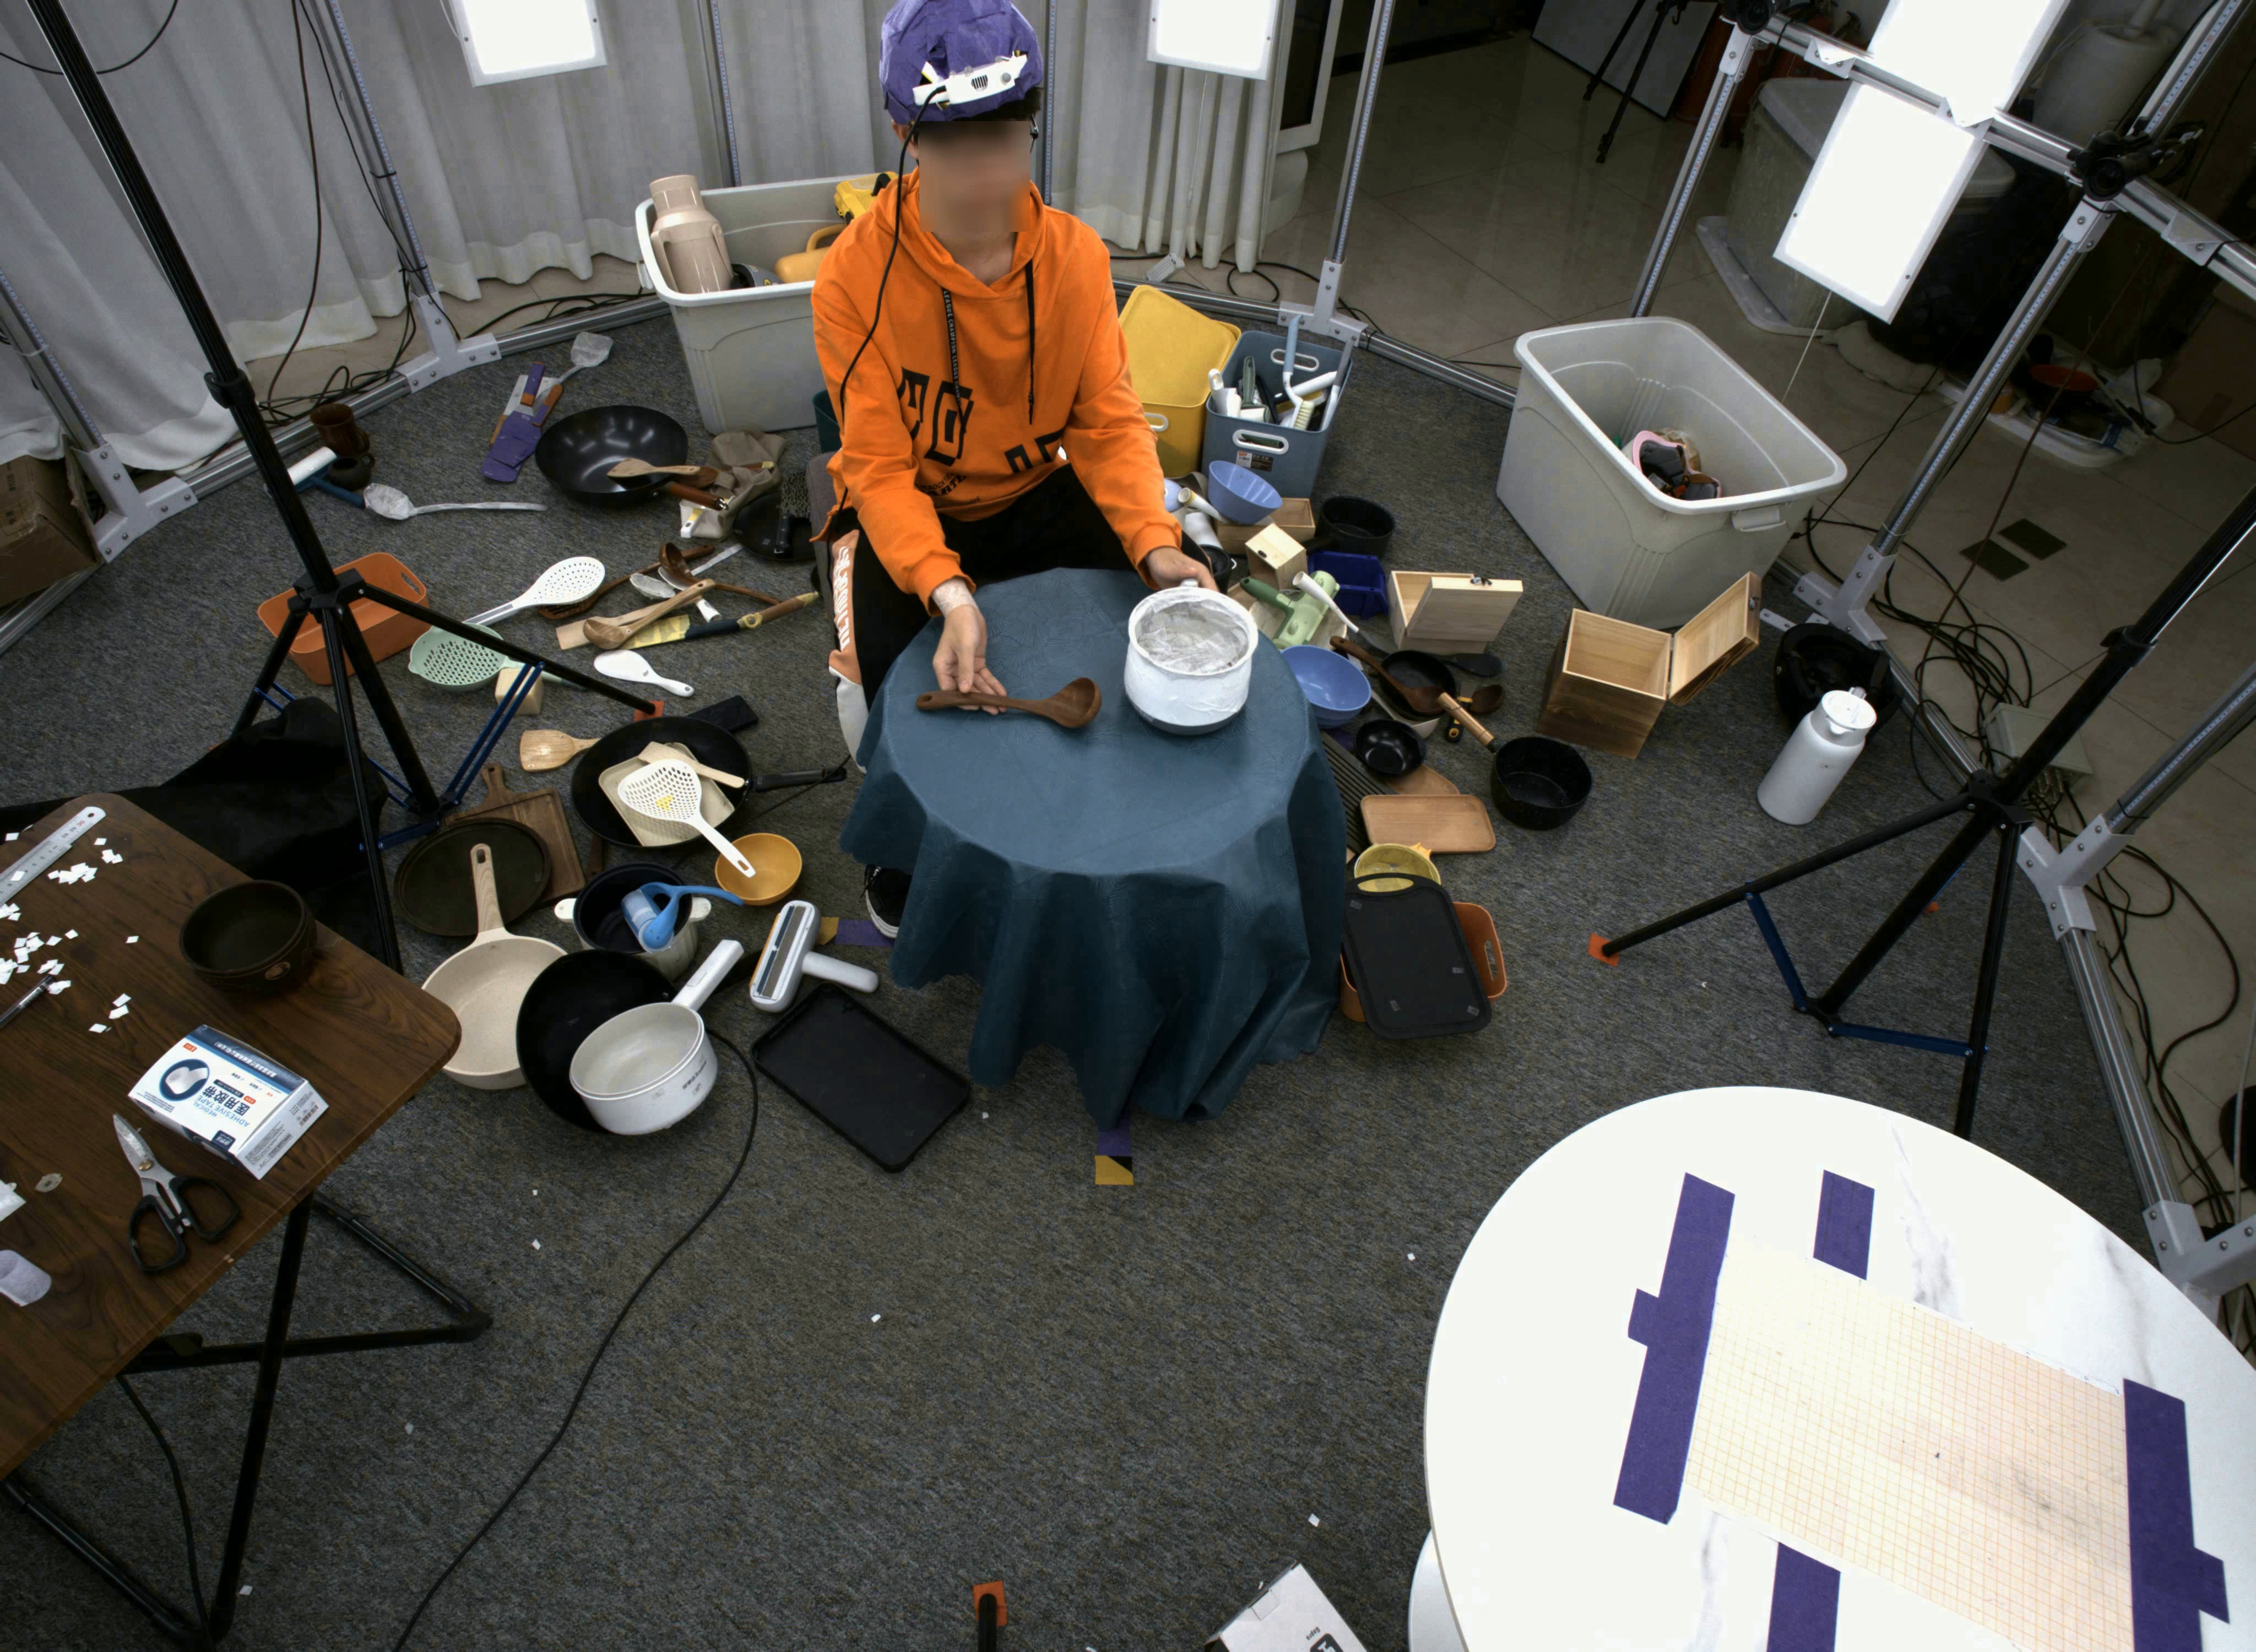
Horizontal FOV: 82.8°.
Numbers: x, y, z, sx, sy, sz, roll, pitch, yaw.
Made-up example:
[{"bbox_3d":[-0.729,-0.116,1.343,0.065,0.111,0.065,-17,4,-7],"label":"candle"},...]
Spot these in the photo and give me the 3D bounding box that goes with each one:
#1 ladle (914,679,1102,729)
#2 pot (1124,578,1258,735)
[{"bbox_3d":[-0.166,-0.176,1.769,0.260,0.063,0.078,5,55,-1],"label":"ladle"},{"bbox_3d":[0.083,-0.247,1.800,0.178,0.133,0.239,1,49,-4],"label":"pot"}]
